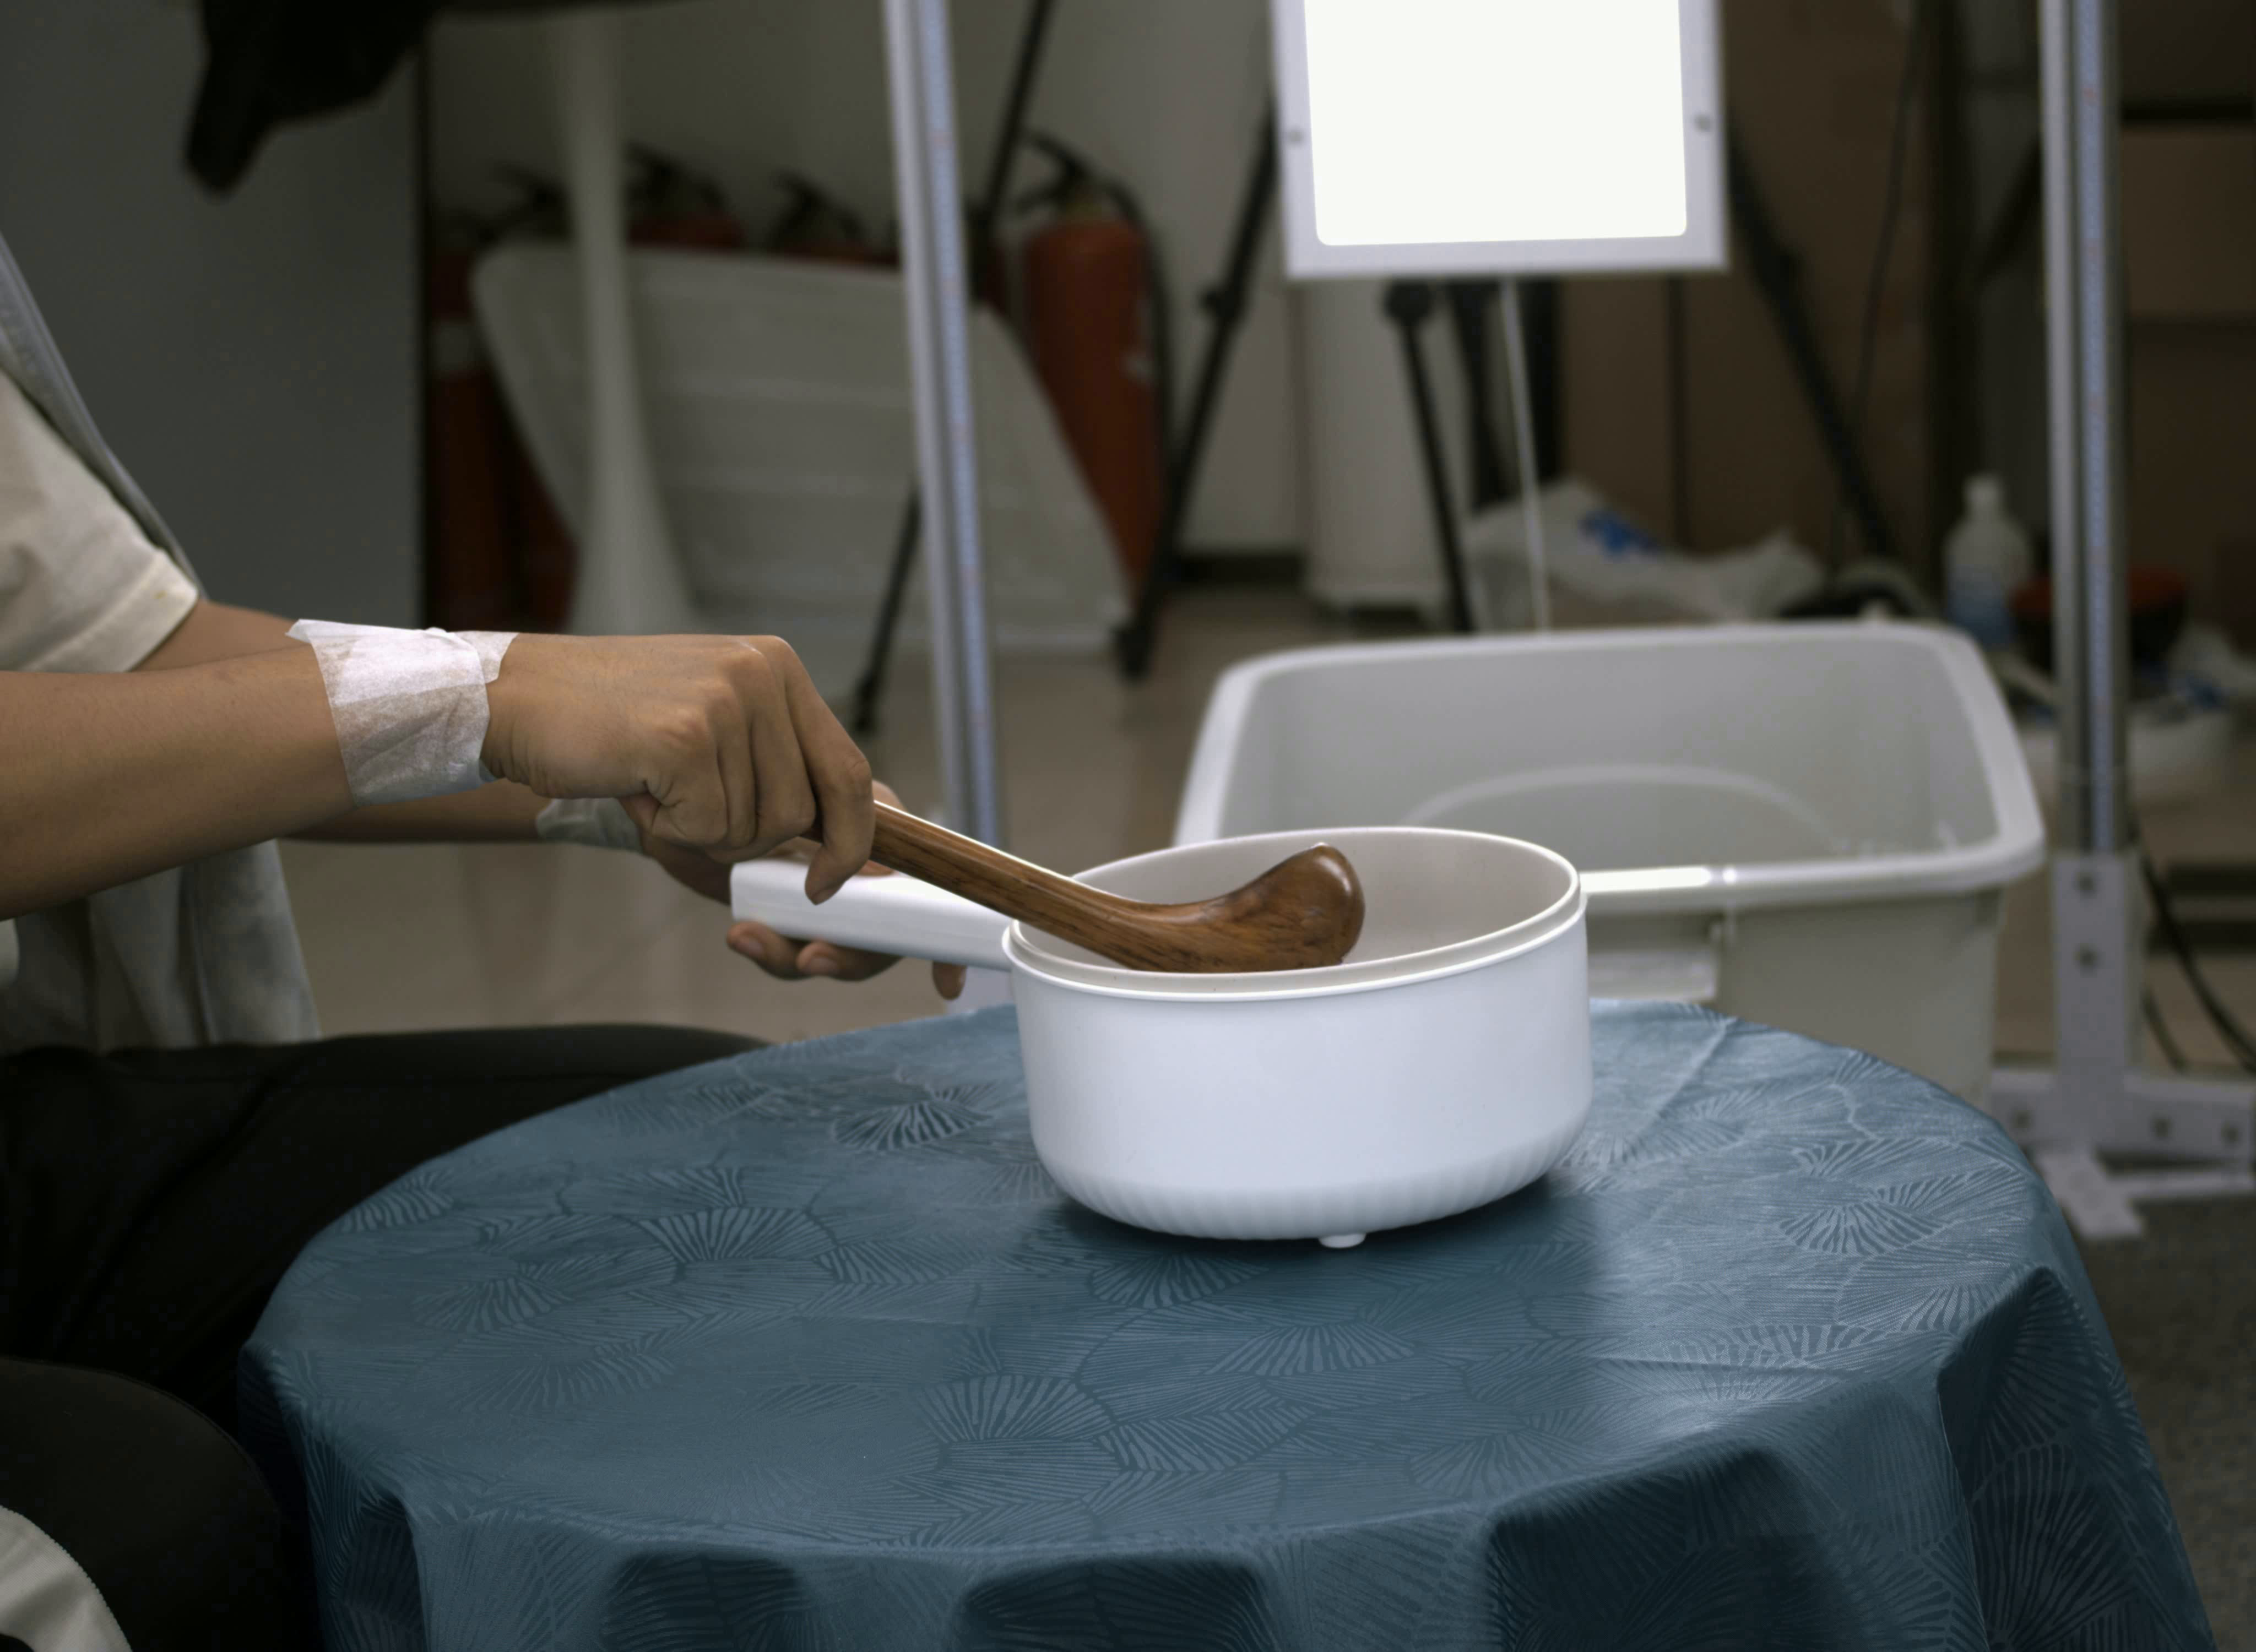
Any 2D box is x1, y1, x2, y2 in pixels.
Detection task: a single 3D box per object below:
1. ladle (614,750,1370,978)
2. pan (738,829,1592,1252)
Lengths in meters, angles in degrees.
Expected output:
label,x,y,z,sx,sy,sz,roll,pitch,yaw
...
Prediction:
label,x,y,z,sx,sy,sz,roll,pitch,yaw
ladle,-0.043,0.008,1.856,0.271,0.082,0.077,17,14,-13
pan,0.003,0.069,1.930,0.362,0.102,0.196,5,18,42
